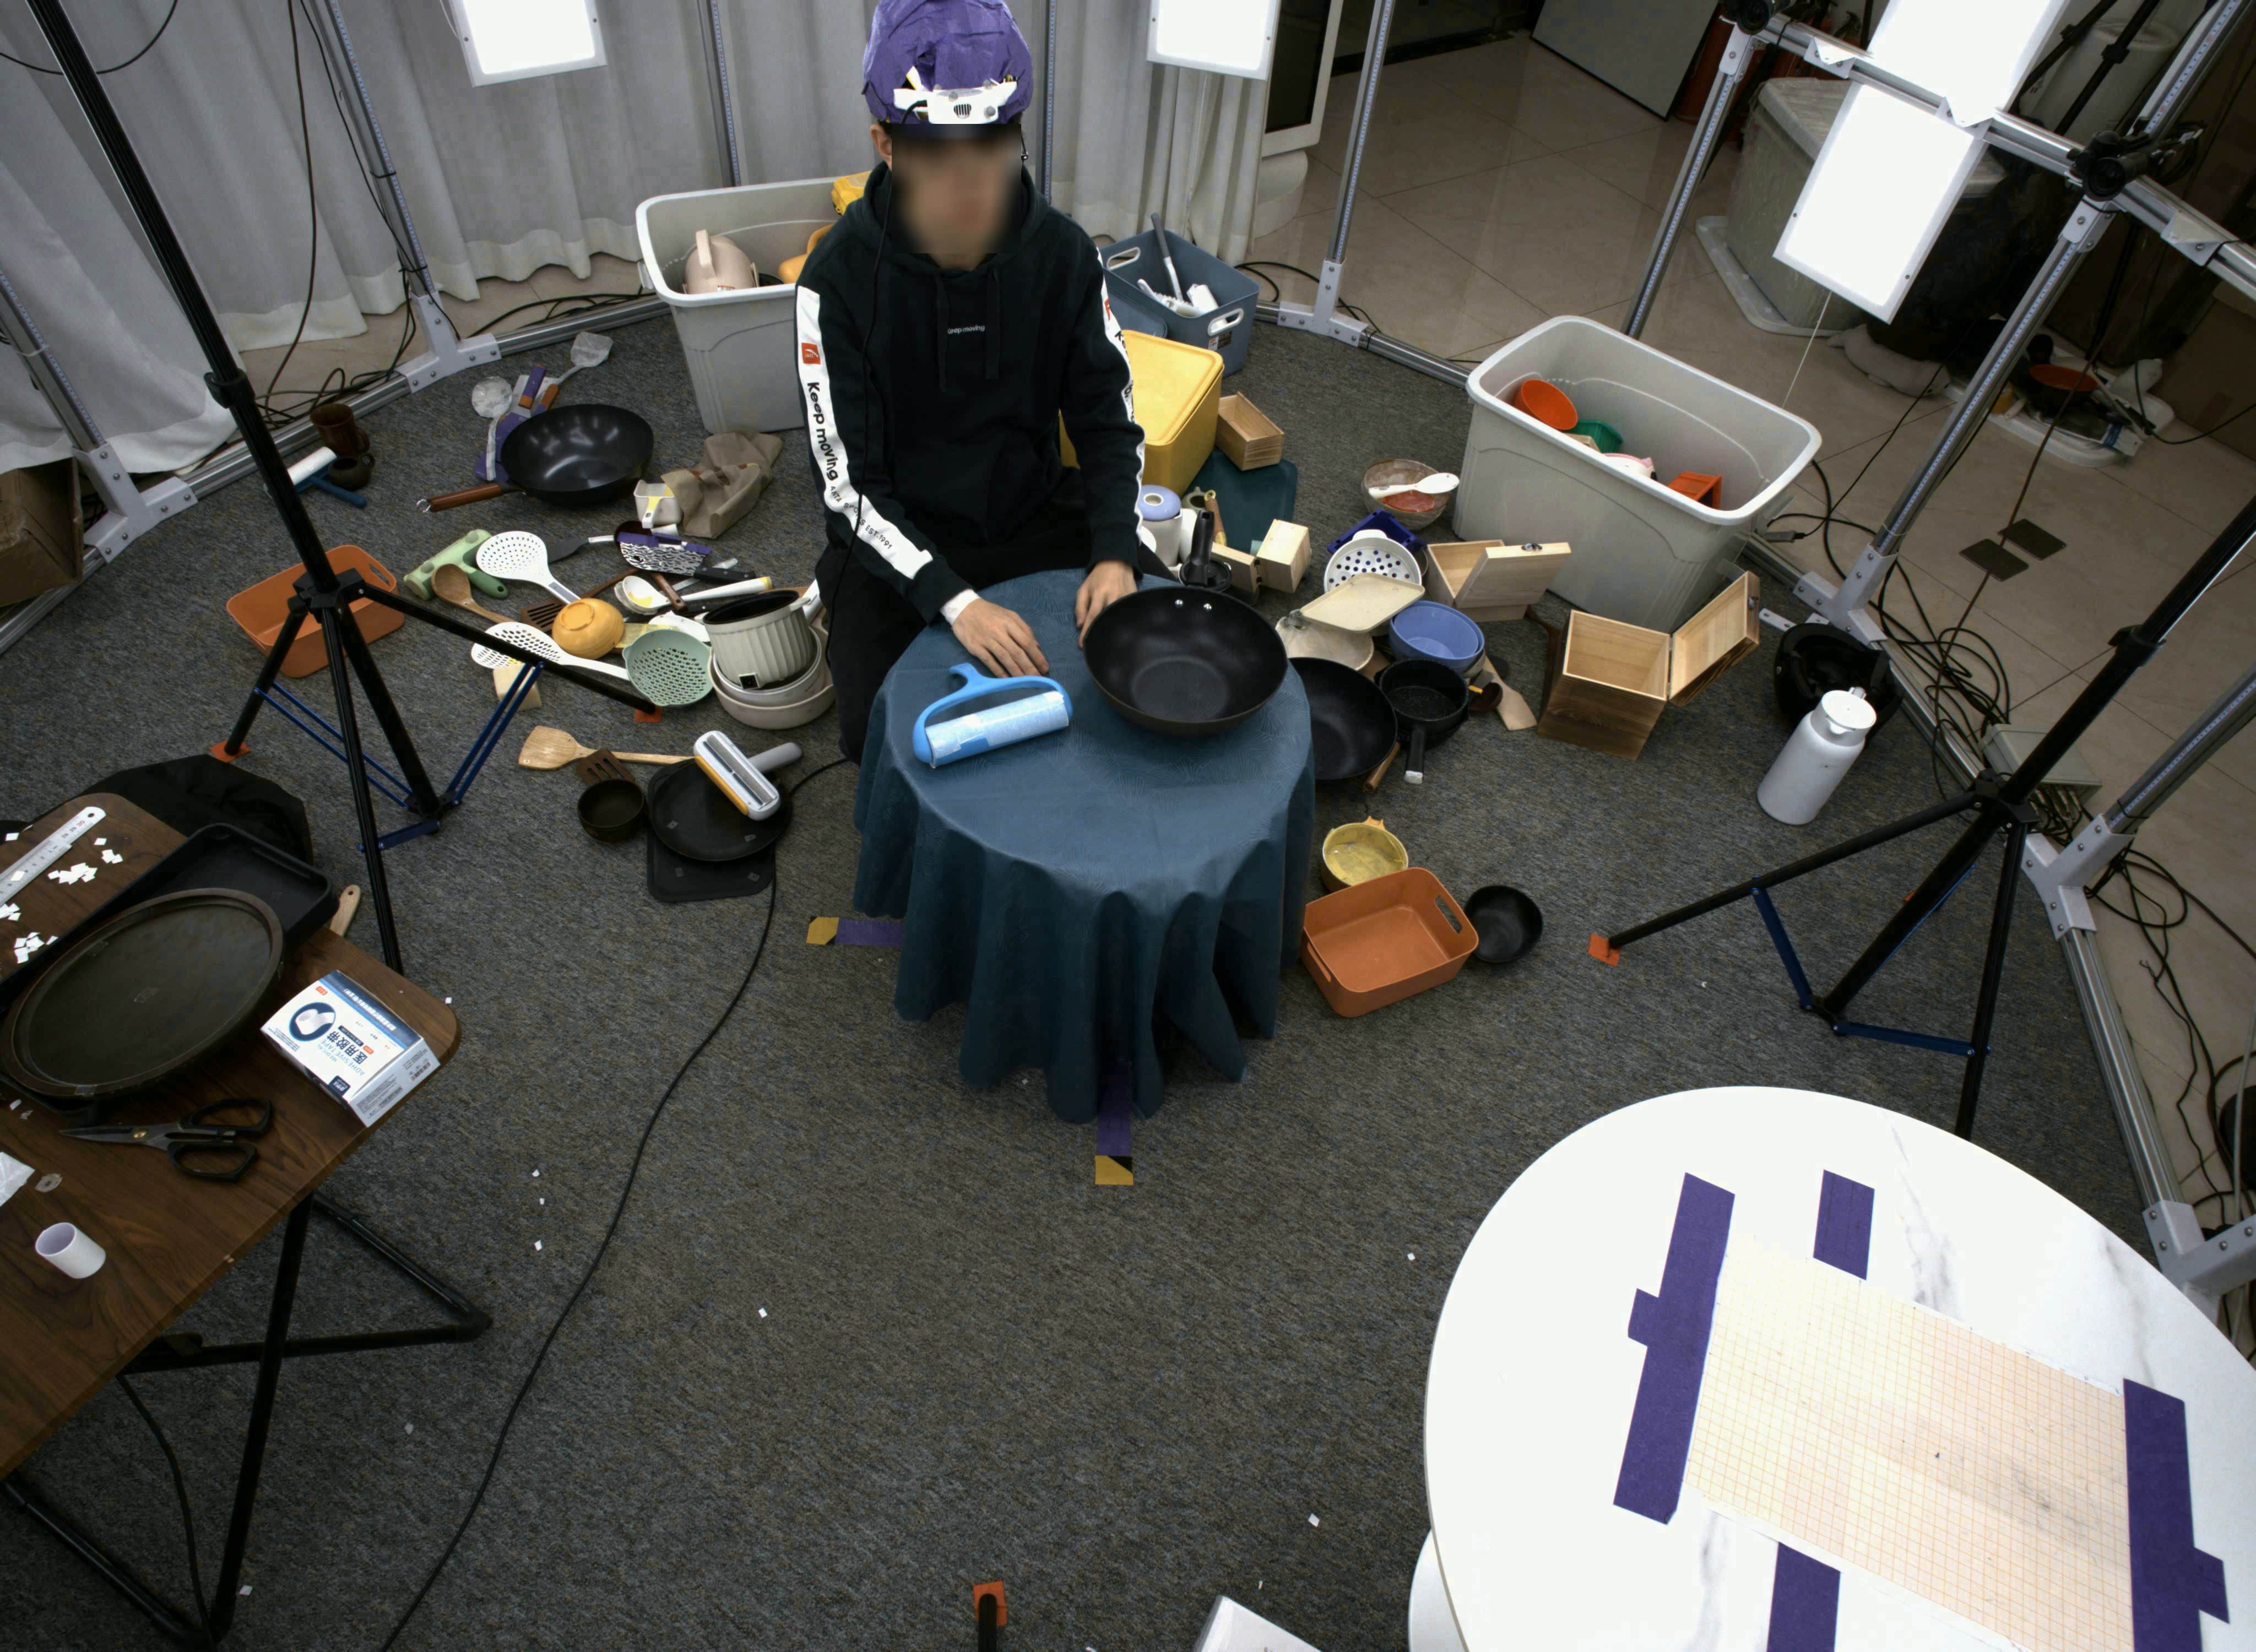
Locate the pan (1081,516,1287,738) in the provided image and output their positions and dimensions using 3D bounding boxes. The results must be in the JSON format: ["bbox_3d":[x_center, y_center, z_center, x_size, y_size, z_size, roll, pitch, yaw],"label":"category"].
[{"bbox_3d":[0.088,-0.286,1.869,0.288,0.085,0.474,8,48,3],"label":"pan"}]

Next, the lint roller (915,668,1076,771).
[{"bbox_3d":[-0.205,-0.172,1.768,0.229,0.066,0.184,-22,55,-19],"label":"lint roller"}]
